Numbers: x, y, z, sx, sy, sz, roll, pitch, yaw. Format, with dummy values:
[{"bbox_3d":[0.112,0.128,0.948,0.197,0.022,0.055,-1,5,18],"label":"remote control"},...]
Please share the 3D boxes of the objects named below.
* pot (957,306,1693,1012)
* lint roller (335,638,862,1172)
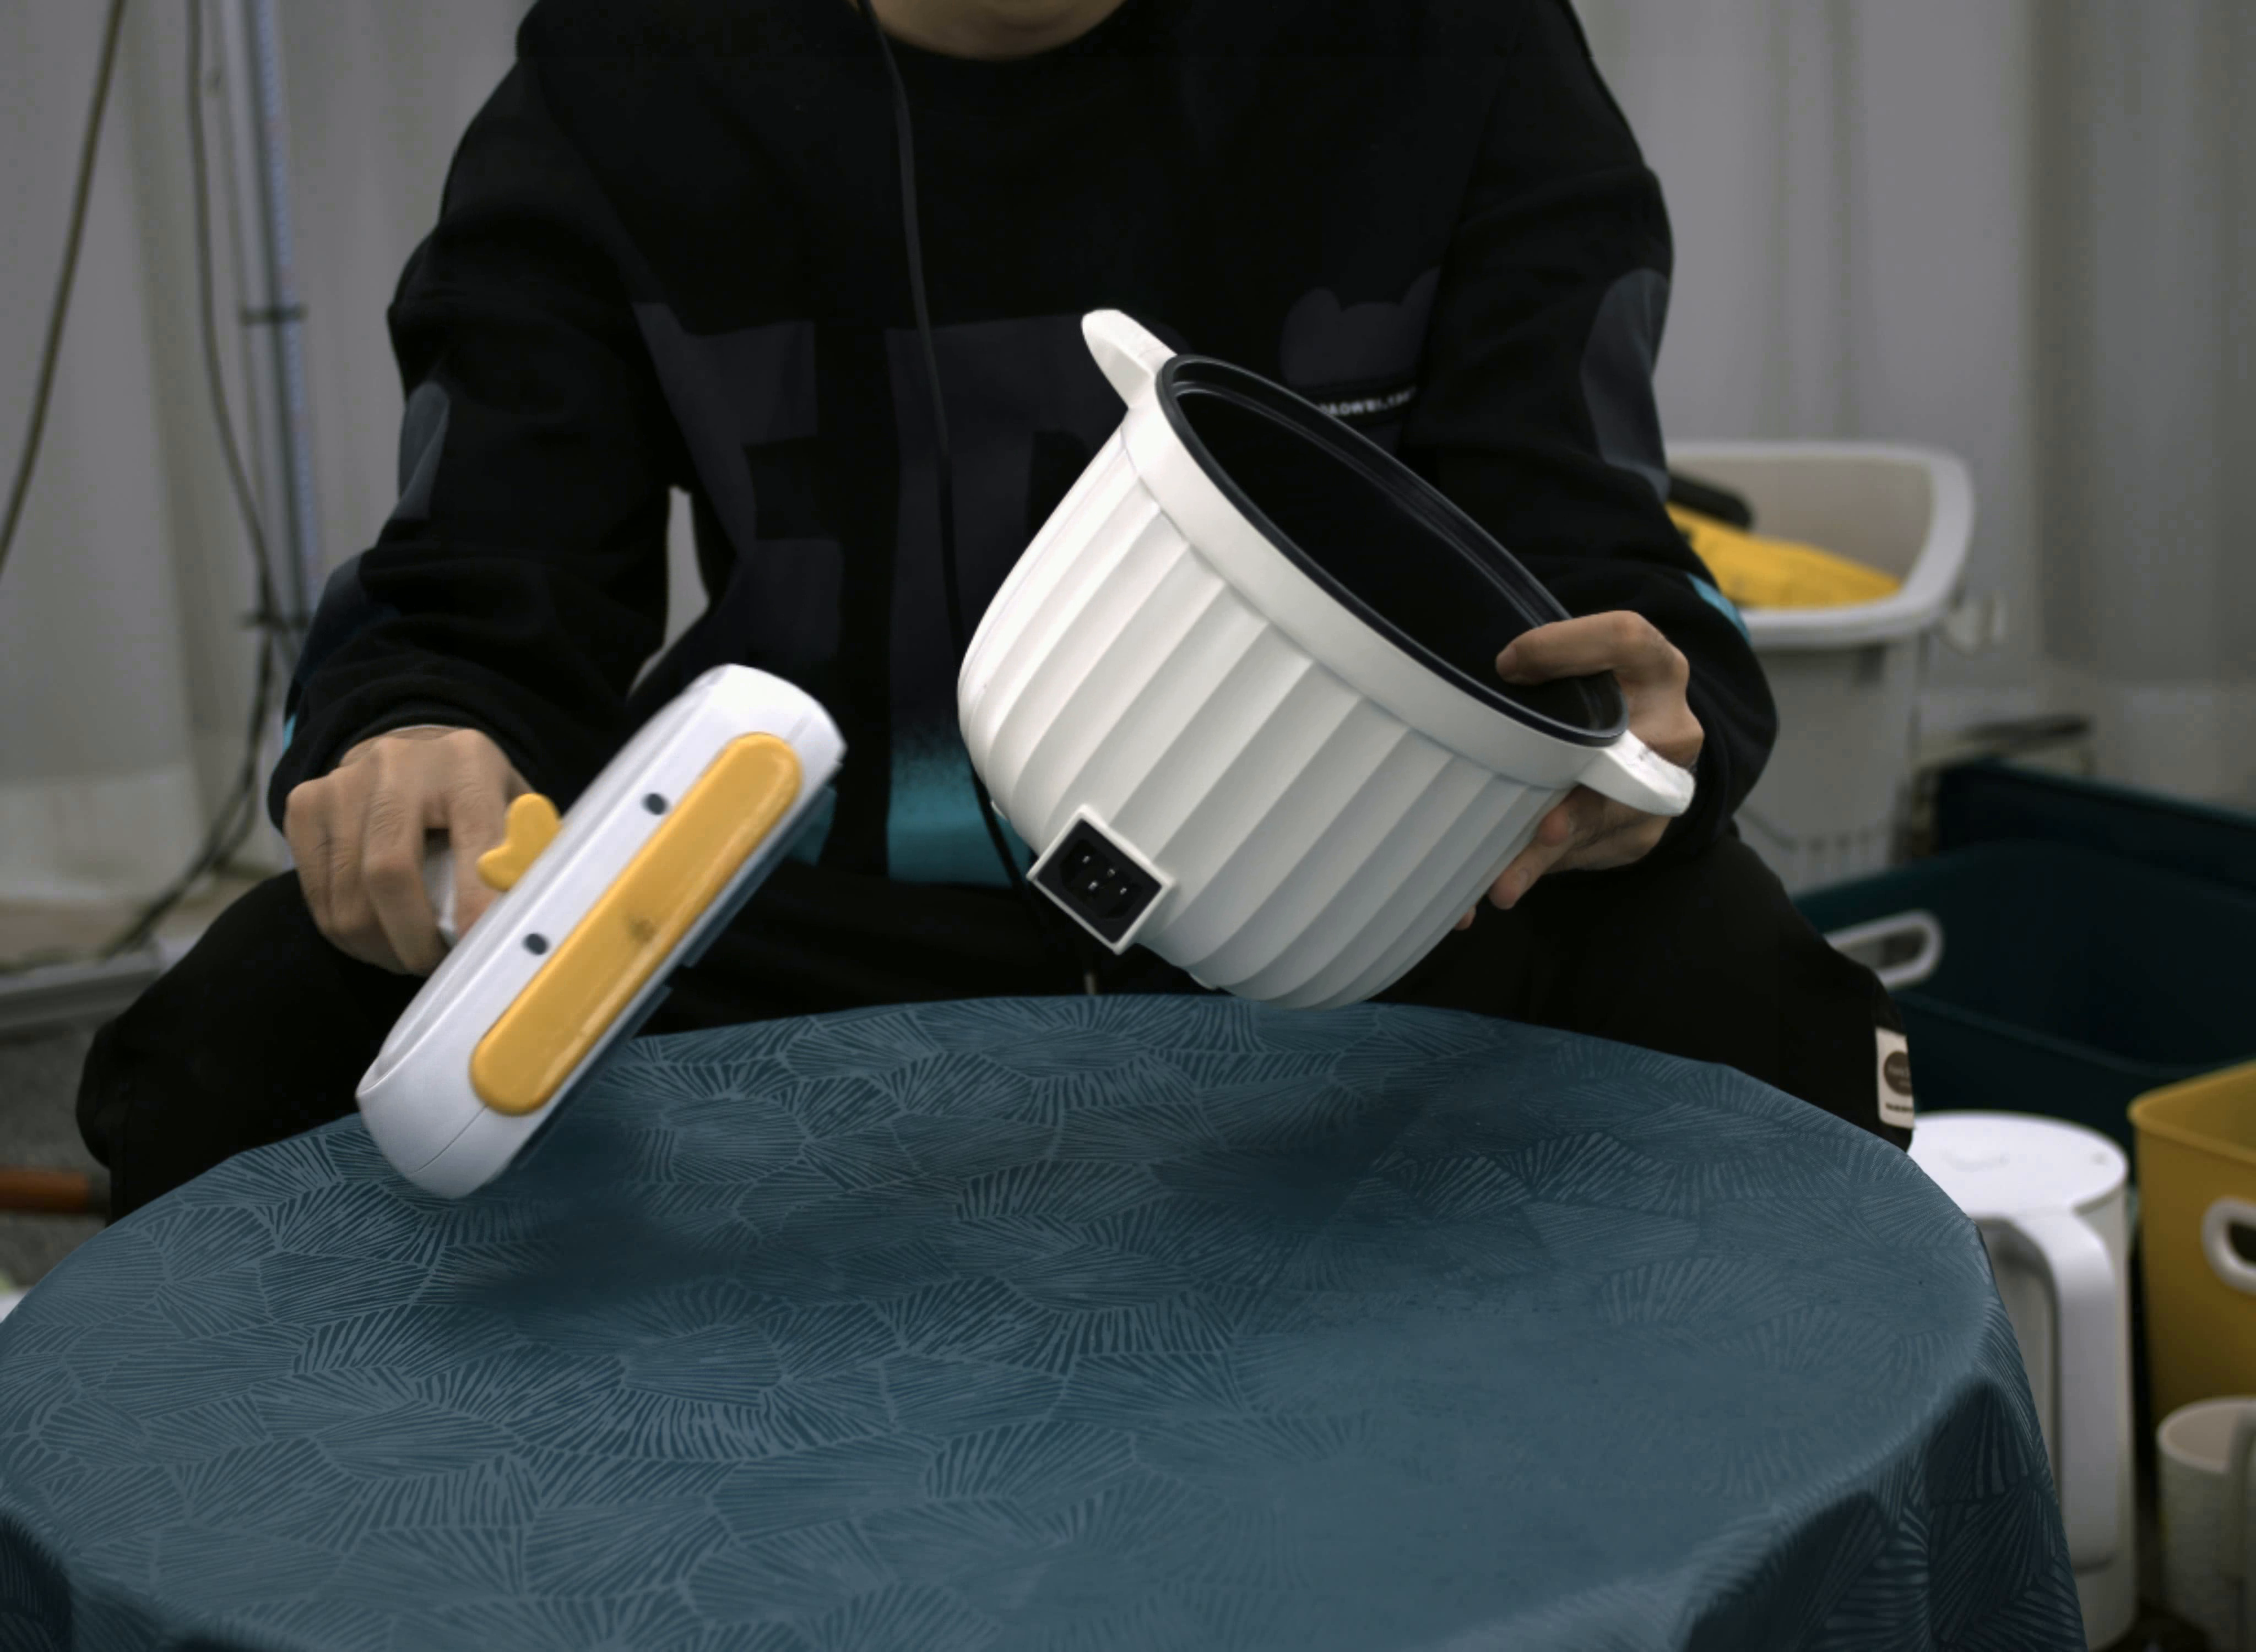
[{"bbox_3d":[0.043,-0.039,1.699,0.241,0.142,0.191,41,19,4],"label":"pot"},{"bbox_3d":[-0.187,0.023,1.719,0.194,0.073,0.192,-56,22,-22],"label":"lint roller"}]
